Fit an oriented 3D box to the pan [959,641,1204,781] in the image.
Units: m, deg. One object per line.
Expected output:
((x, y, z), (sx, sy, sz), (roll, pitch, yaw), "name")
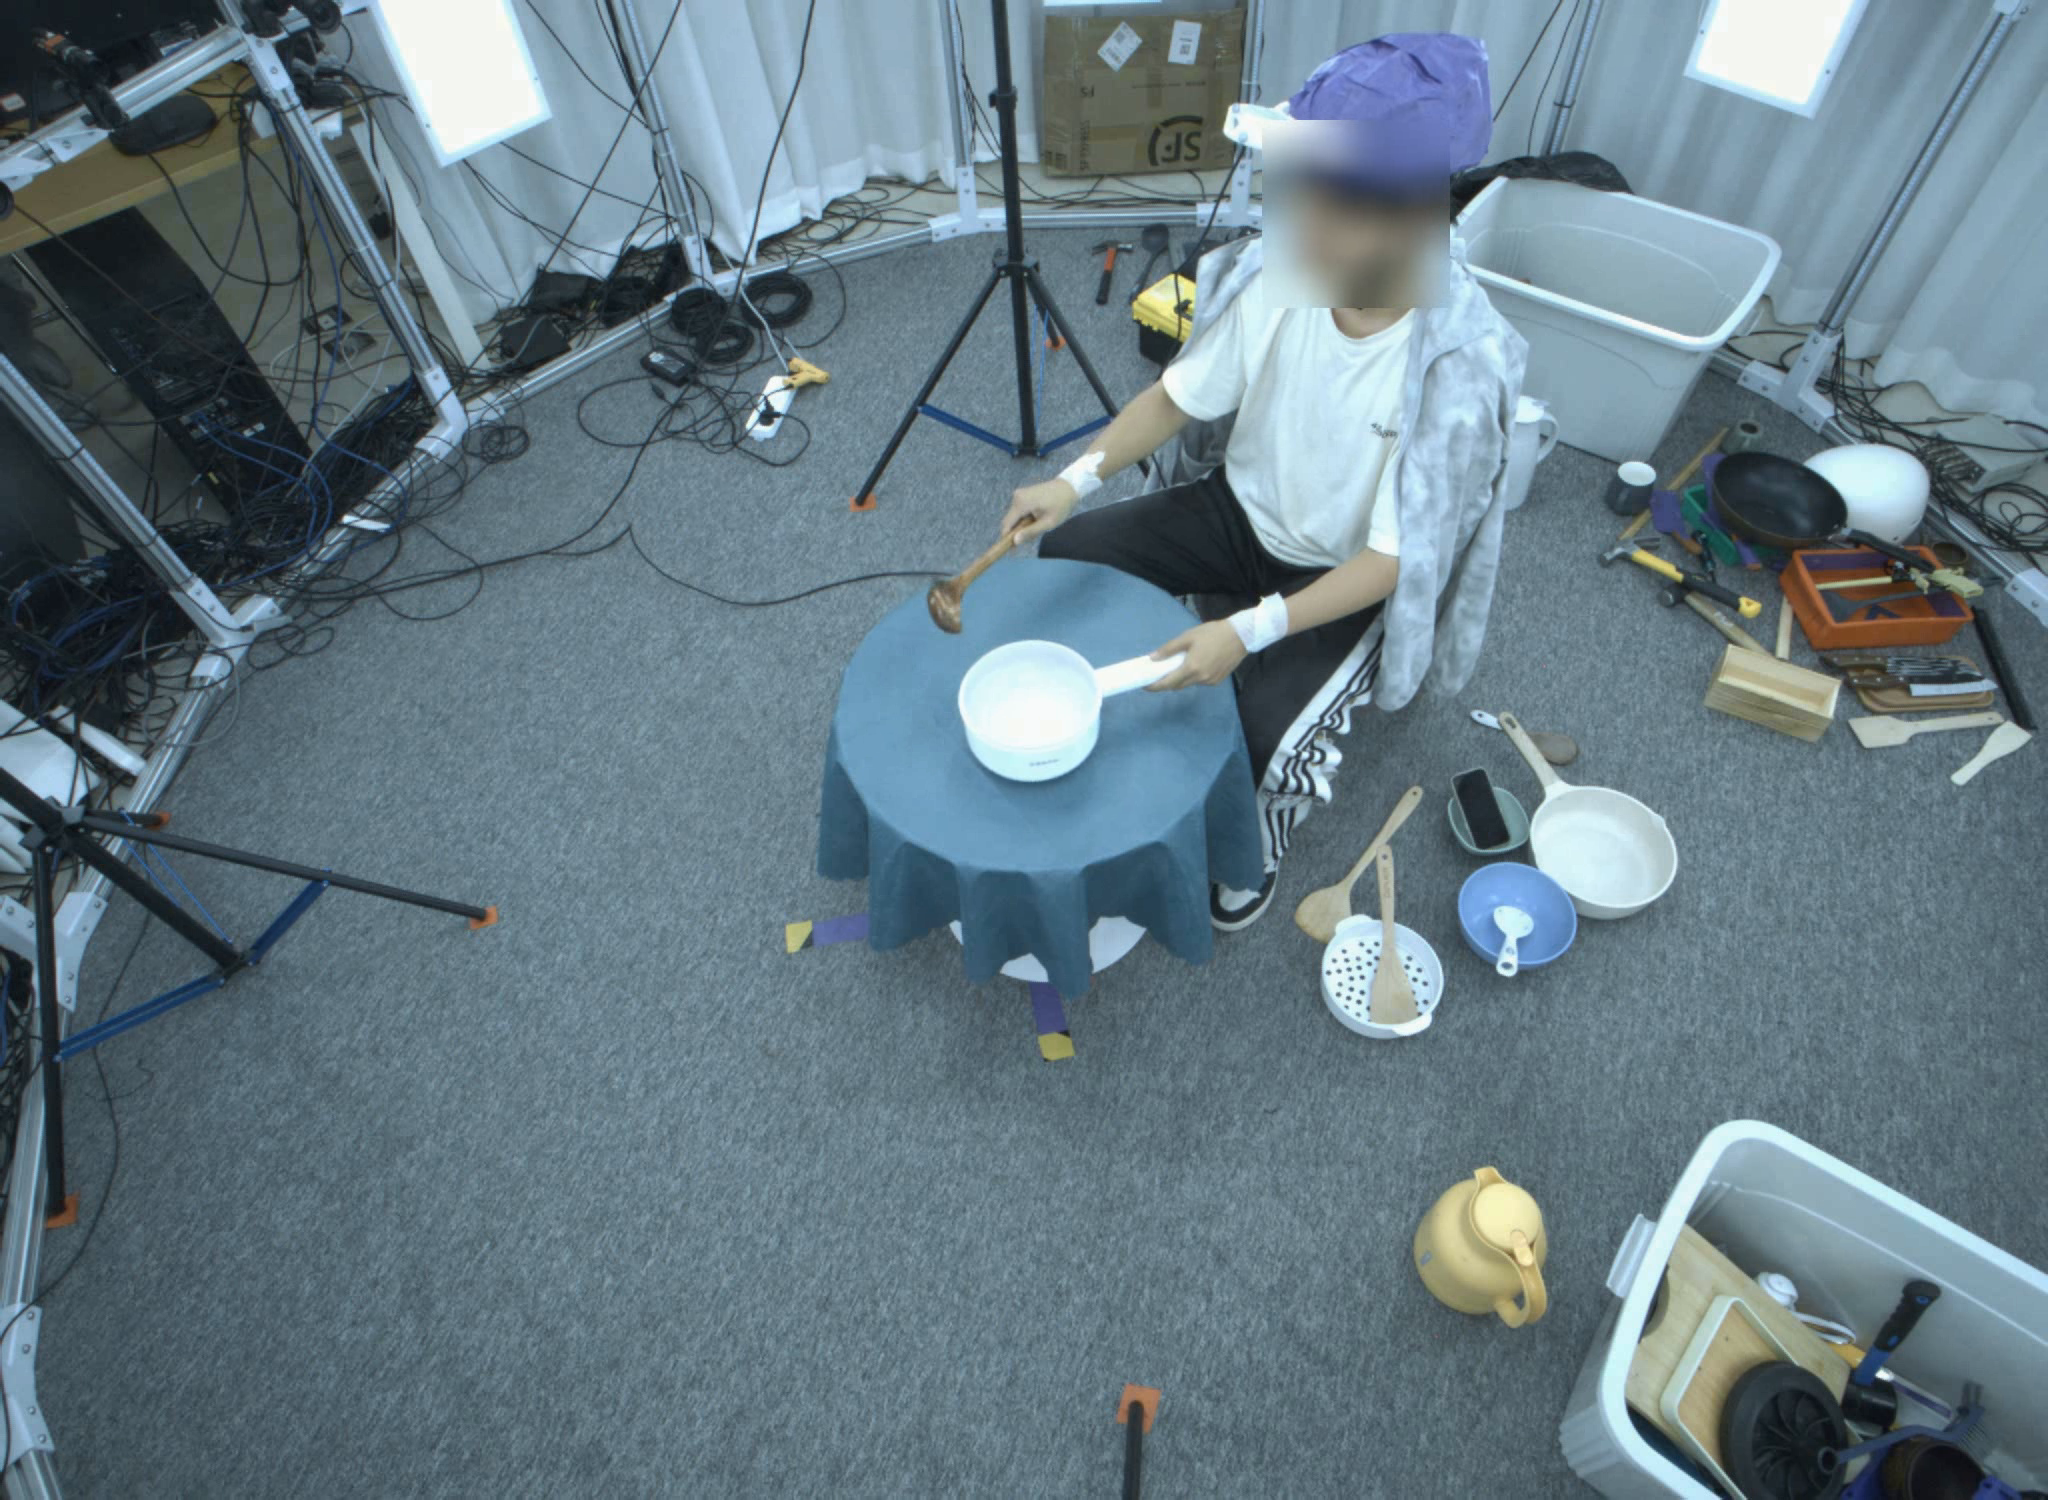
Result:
((0.084, -0.070, 1.777), (0.357, 0.103, 0.198), (-15, 54, -9), "pan")

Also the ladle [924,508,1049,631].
((-0.043, -0.275, 1.799), (0.276, 0.083, 0.075), (-41, 41, -23), "ladle")
